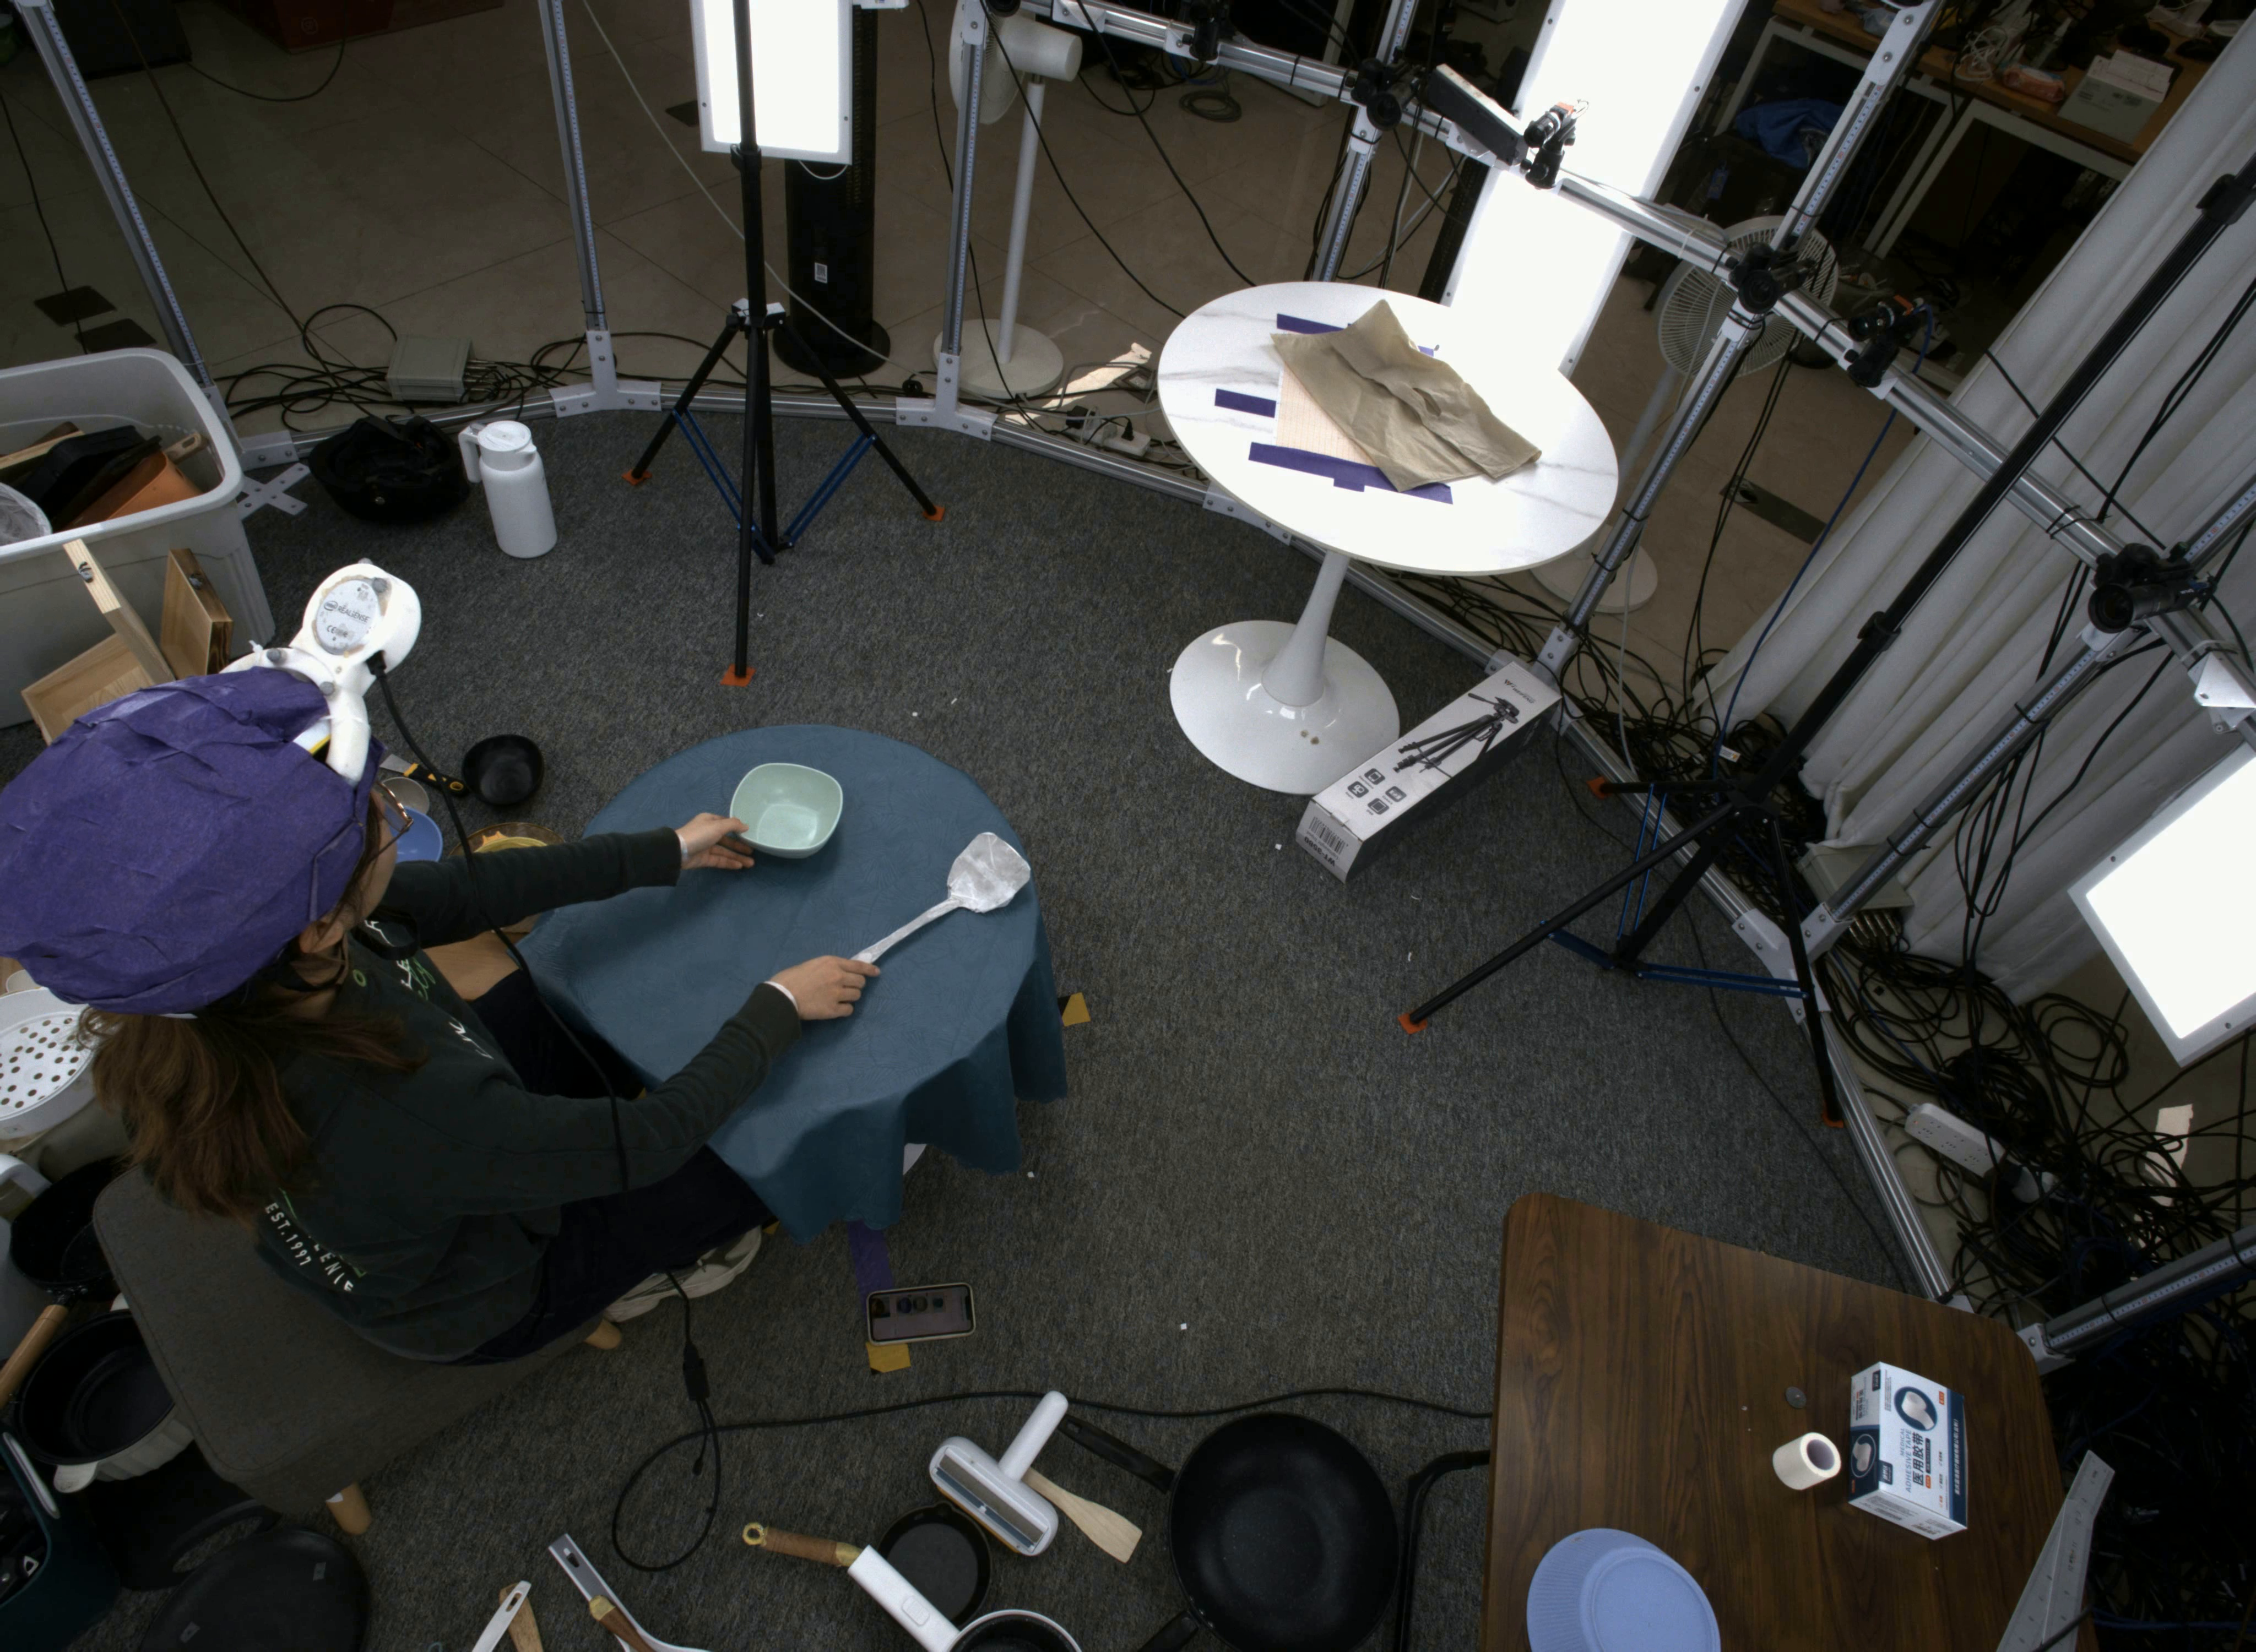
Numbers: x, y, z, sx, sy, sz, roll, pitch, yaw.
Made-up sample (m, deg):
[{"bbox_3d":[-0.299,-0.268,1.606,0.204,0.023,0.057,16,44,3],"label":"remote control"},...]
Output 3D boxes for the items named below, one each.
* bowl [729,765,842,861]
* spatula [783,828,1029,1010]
[{"bbox_3d":[-0.447,-0.009,1.694,0.151,0.060,0.148,9,50,-9],"label":"bowl"},{"bbox_3d":[-0.282,0.124,1.648,0.366,0.045,0.096,-34,70,-33],"label":"spatula"}]
